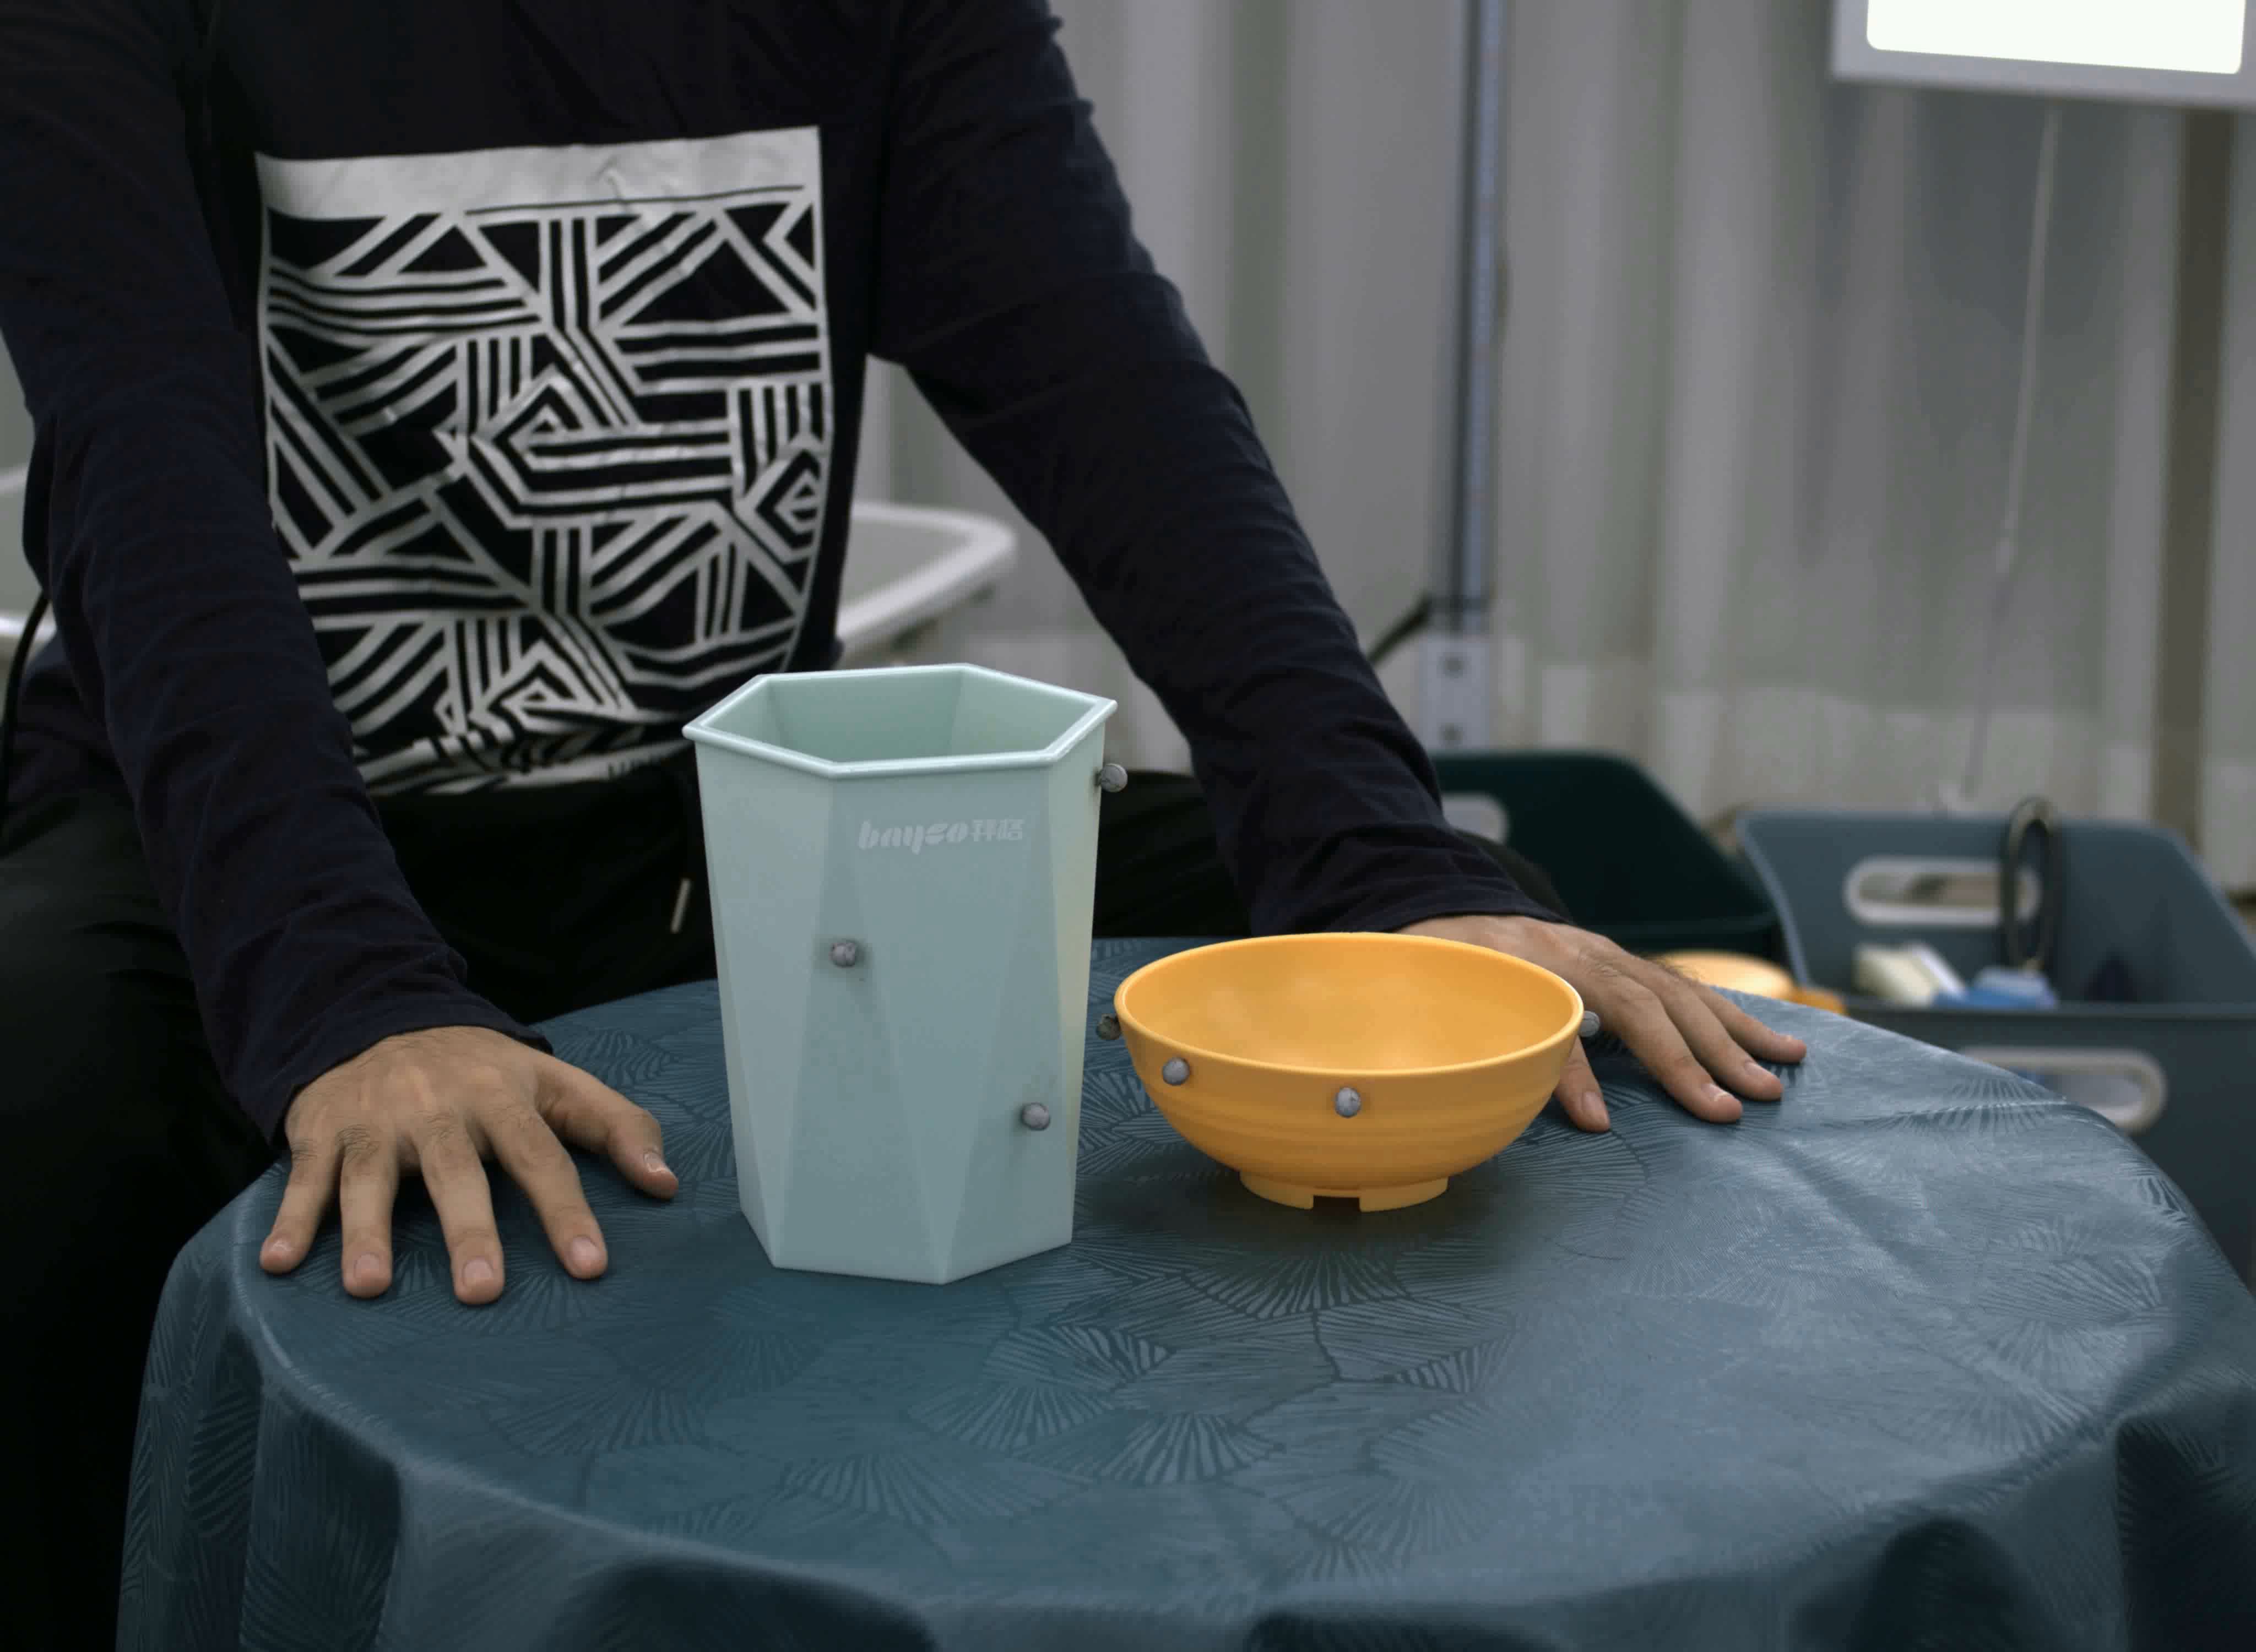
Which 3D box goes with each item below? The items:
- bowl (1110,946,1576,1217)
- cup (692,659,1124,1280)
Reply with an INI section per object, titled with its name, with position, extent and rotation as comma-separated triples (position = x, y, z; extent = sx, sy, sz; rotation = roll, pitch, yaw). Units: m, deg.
[bowl]
position = 0.066, 0.084, 1.634
extent = 0.145, 0.060, 0.144
rotation = 2, 13, 0
[cup]
position = -0.065, 0.042, 1.568
extent = 0.131, 0.164, 0.114
rotation = -4, 15, -16
